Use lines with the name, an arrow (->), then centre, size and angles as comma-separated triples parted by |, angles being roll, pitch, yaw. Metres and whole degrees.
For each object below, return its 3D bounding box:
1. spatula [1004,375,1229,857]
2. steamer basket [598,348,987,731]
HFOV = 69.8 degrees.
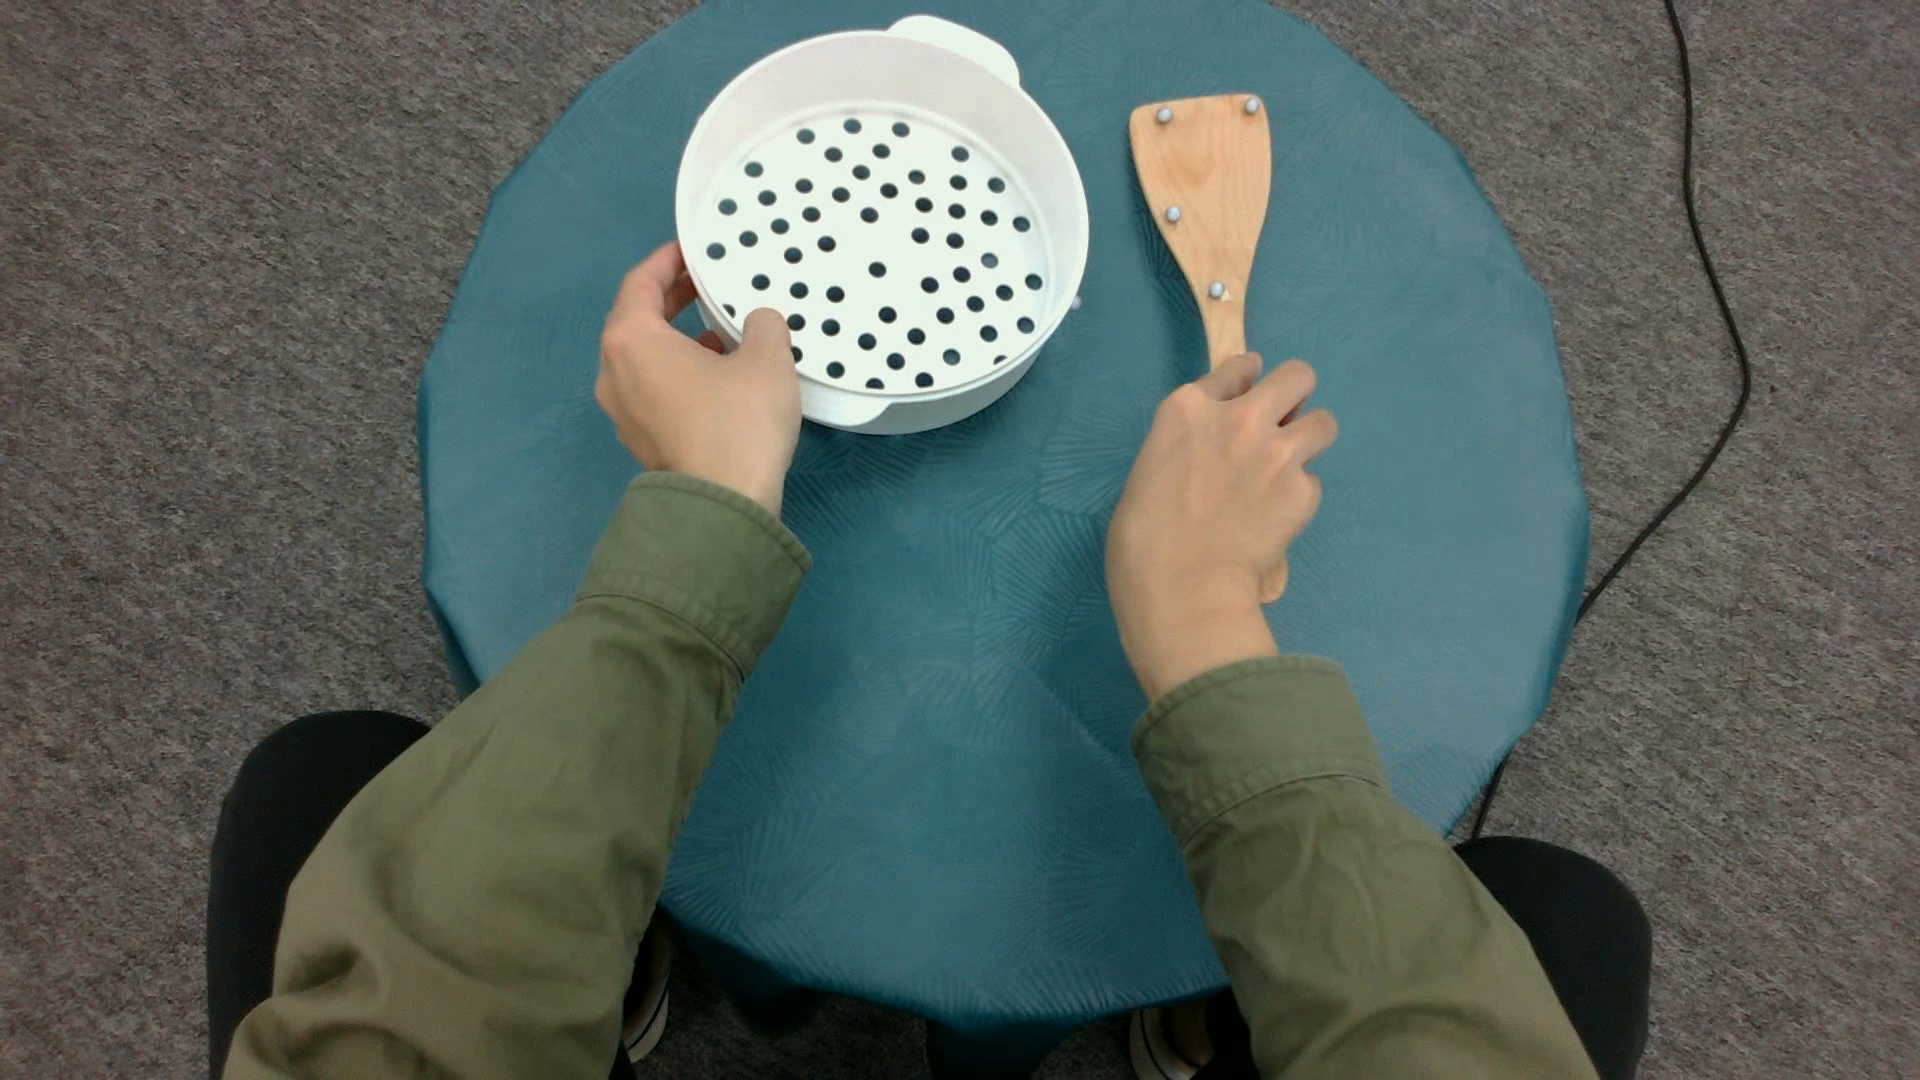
spatula -> 0.087, 0.024, 0.732 | 0.080, 0.016, 0.329 | -7, 46, -4
steamer basket -> -0.088, 0.004, 0.743 | 0.202, 0.069, 0.231 | 9, 59, 2
